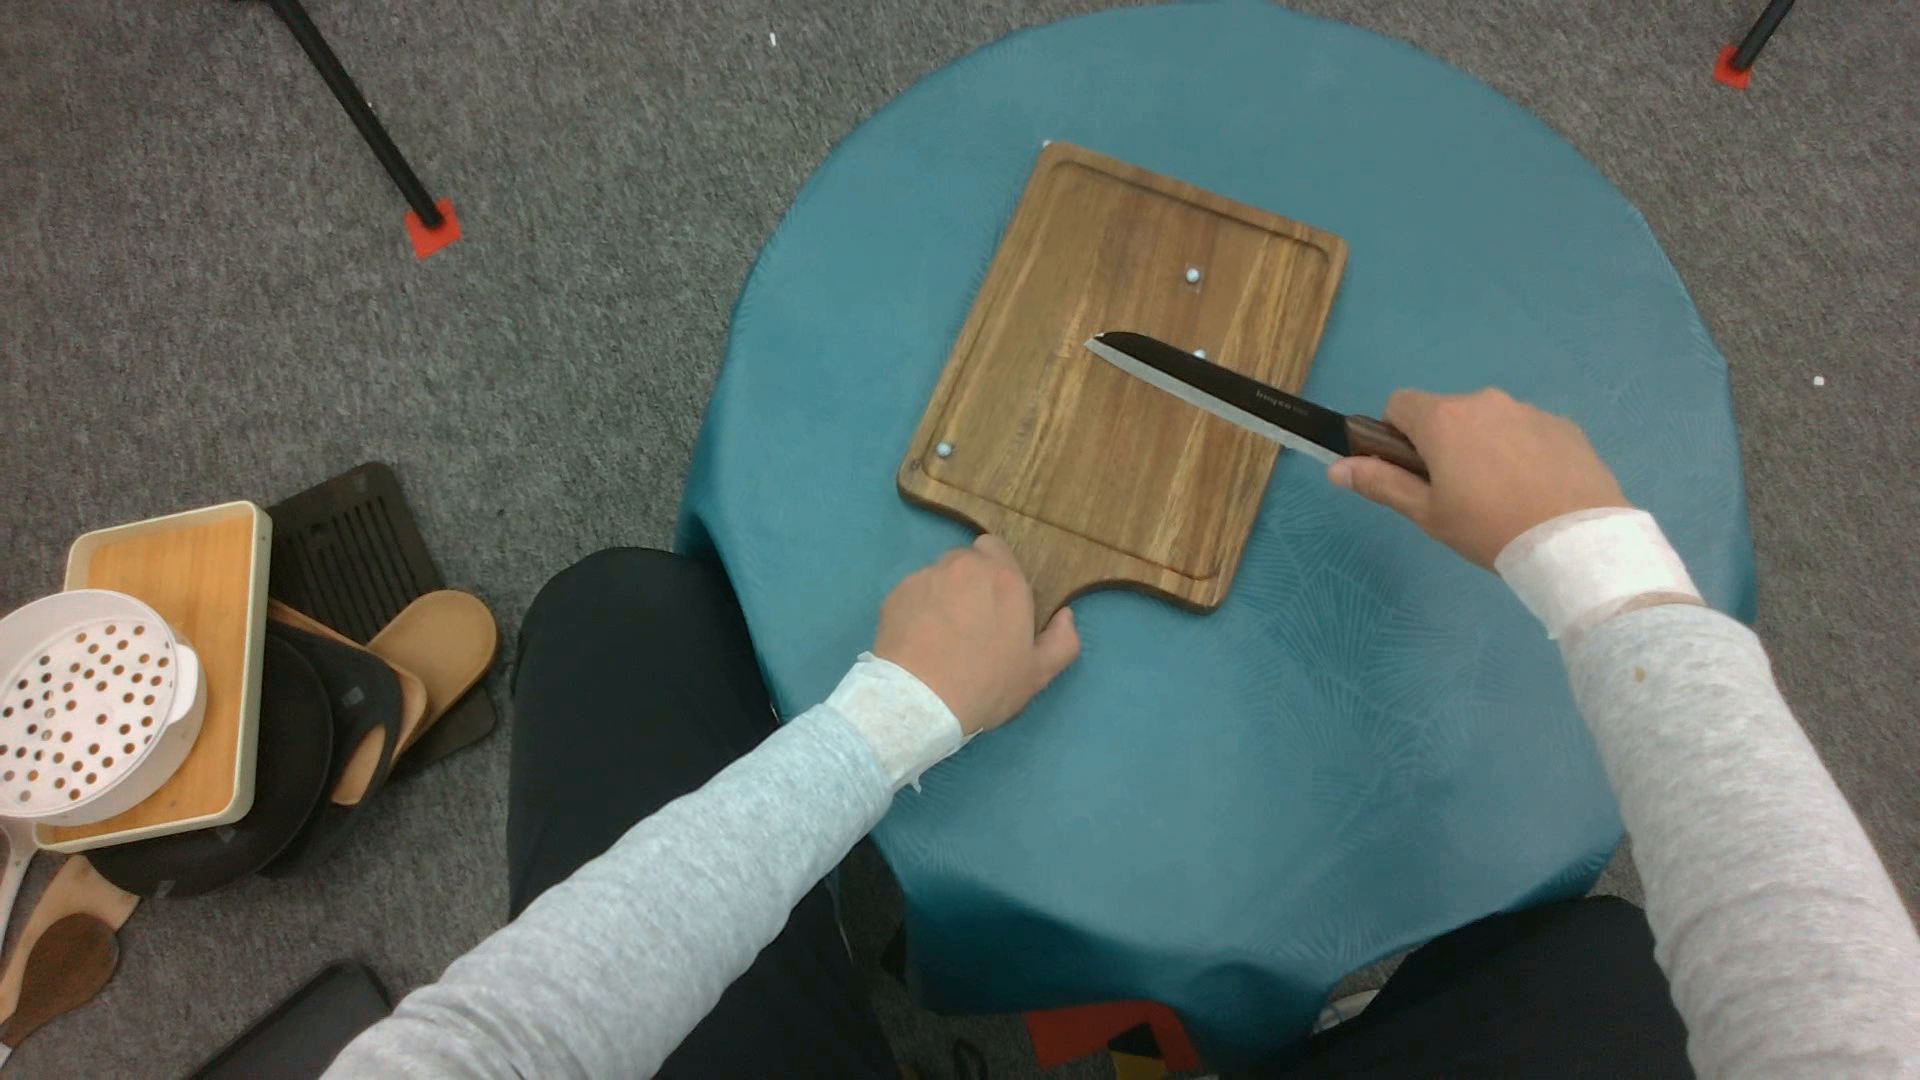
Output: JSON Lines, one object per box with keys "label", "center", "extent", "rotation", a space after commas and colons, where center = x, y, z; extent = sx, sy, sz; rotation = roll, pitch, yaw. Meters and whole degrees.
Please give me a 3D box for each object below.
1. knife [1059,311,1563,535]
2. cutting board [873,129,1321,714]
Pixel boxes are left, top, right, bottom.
{"label": "knife", "center": [0.174, -0.067, 0.733], "extent": [0.289, 0.050, 0.020], "rotation": [26, 62, 25]}
{"label": "cutting board", "center": [0.066, -0.066, 0.788], "extent": [0.201, 0.023, 0.353], "rotation": [21, 72, 6]}
